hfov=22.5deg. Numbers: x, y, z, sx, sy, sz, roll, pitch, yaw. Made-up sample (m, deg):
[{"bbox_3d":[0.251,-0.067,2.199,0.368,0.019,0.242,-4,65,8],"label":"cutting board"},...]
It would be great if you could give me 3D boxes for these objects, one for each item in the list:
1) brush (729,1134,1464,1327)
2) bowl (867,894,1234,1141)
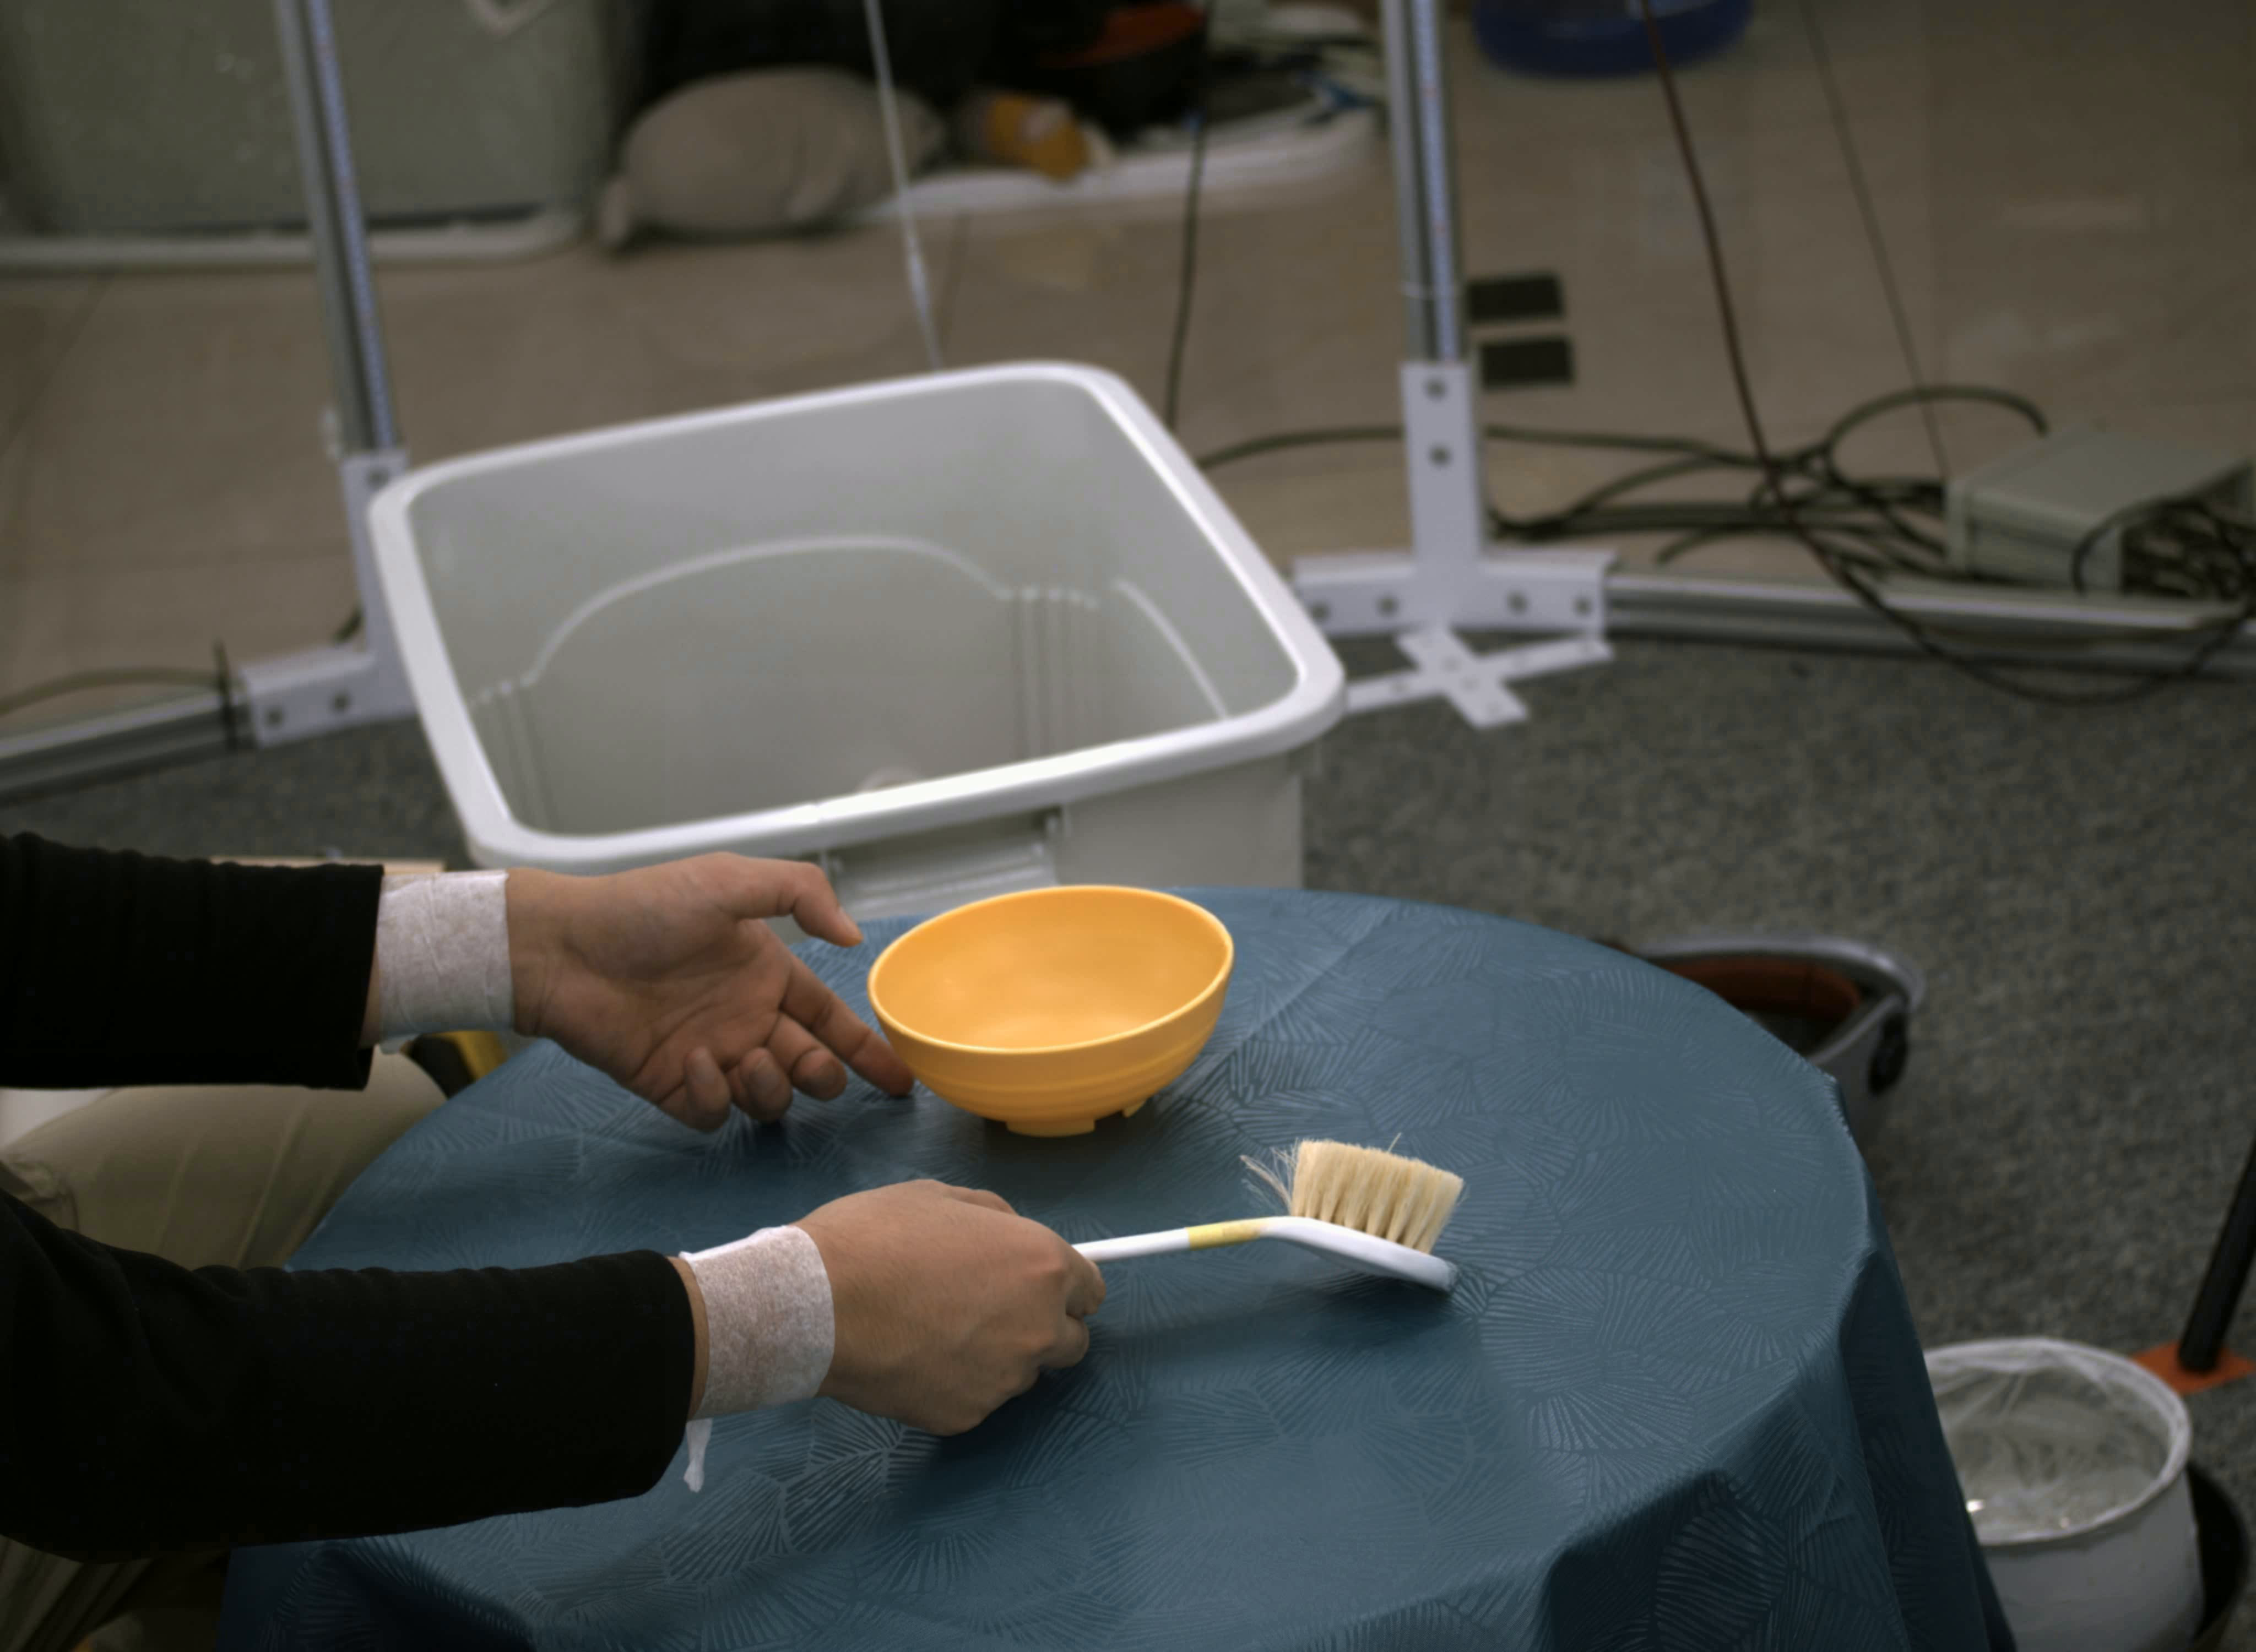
[{"bbox_3d":[-0.011,0.144,2.032,0.266,0.056,0.069,-3,-7,-4],"label":"brush"},{"bbox_3d":[-0.027,0.081,2.209,0.145,0.061,0.143,-6,24,3],"label":"bowl"}]
